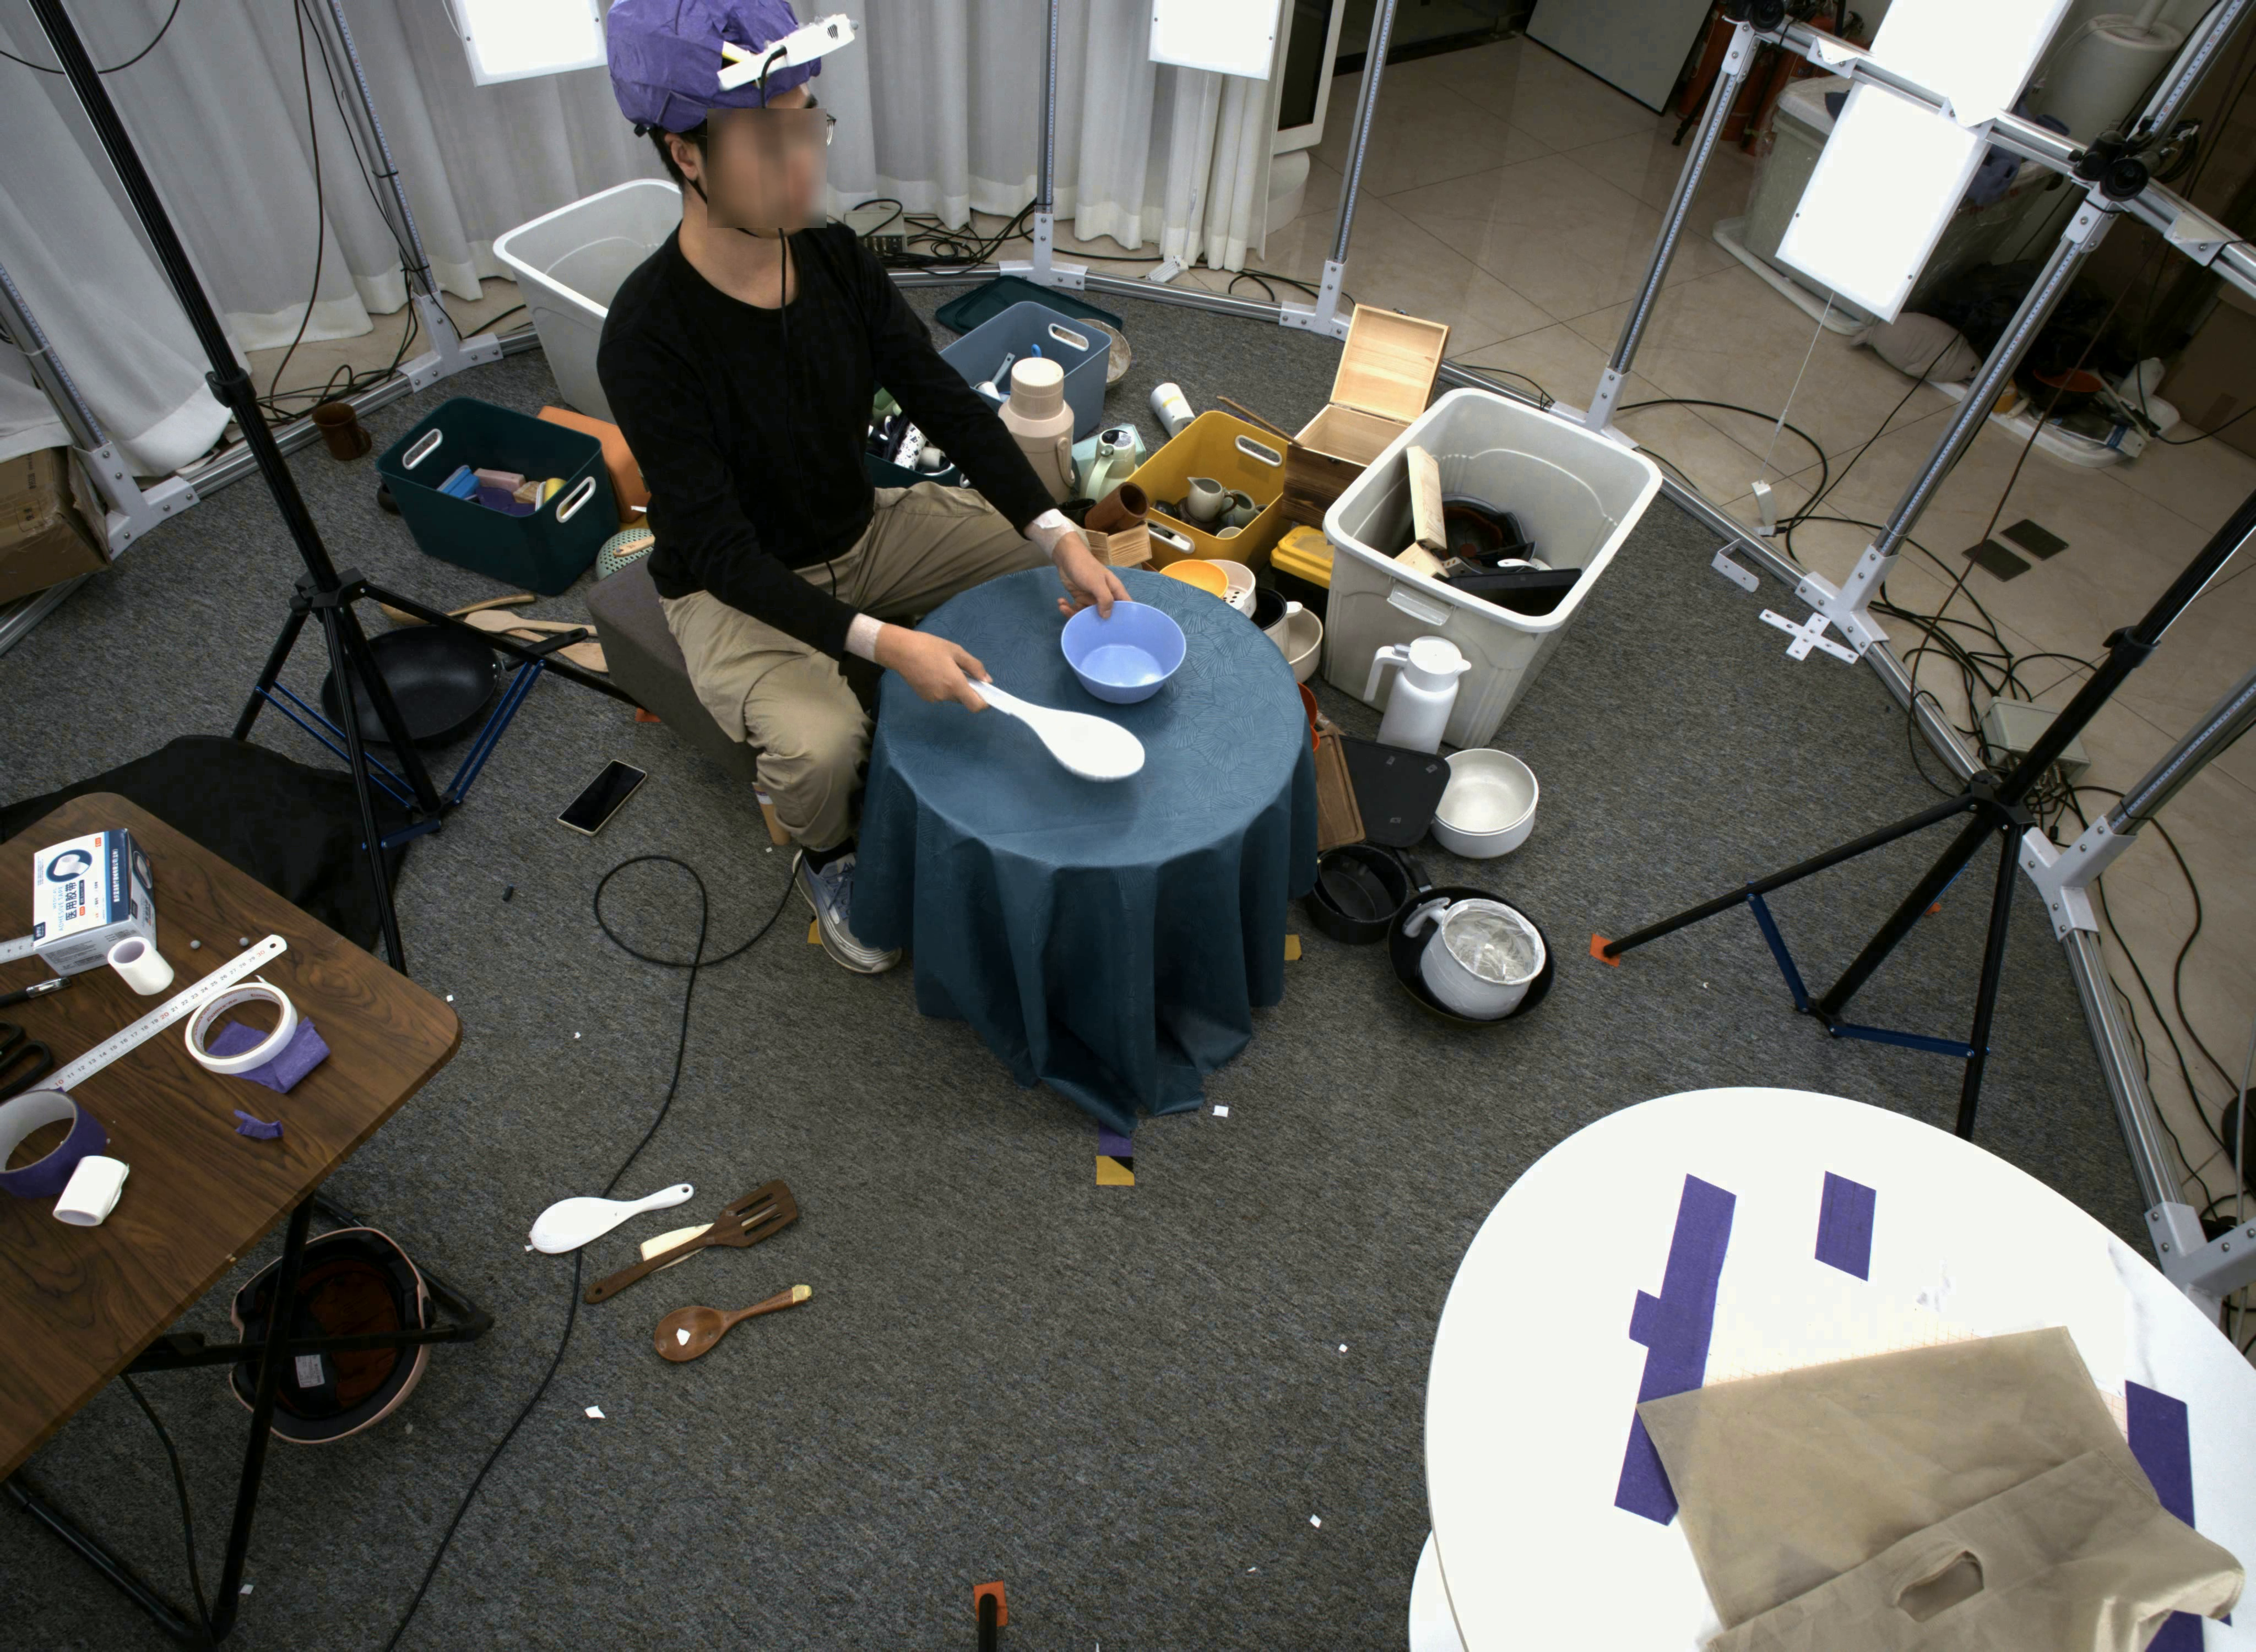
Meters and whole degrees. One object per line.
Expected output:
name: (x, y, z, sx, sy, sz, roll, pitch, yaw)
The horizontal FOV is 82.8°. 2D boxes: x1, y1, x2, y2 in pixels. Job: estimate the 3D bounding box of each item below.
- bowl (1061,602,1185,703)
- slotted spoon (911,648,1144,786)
bowl: (-0.009, -0.239, 1.831, 0.176, 0.068, 0.180, 2, 48, -2)
slotted spoon: (-0.138, -0.148, 1.704, 0.351, 0.045, 0.138, 33, 37, 9)
